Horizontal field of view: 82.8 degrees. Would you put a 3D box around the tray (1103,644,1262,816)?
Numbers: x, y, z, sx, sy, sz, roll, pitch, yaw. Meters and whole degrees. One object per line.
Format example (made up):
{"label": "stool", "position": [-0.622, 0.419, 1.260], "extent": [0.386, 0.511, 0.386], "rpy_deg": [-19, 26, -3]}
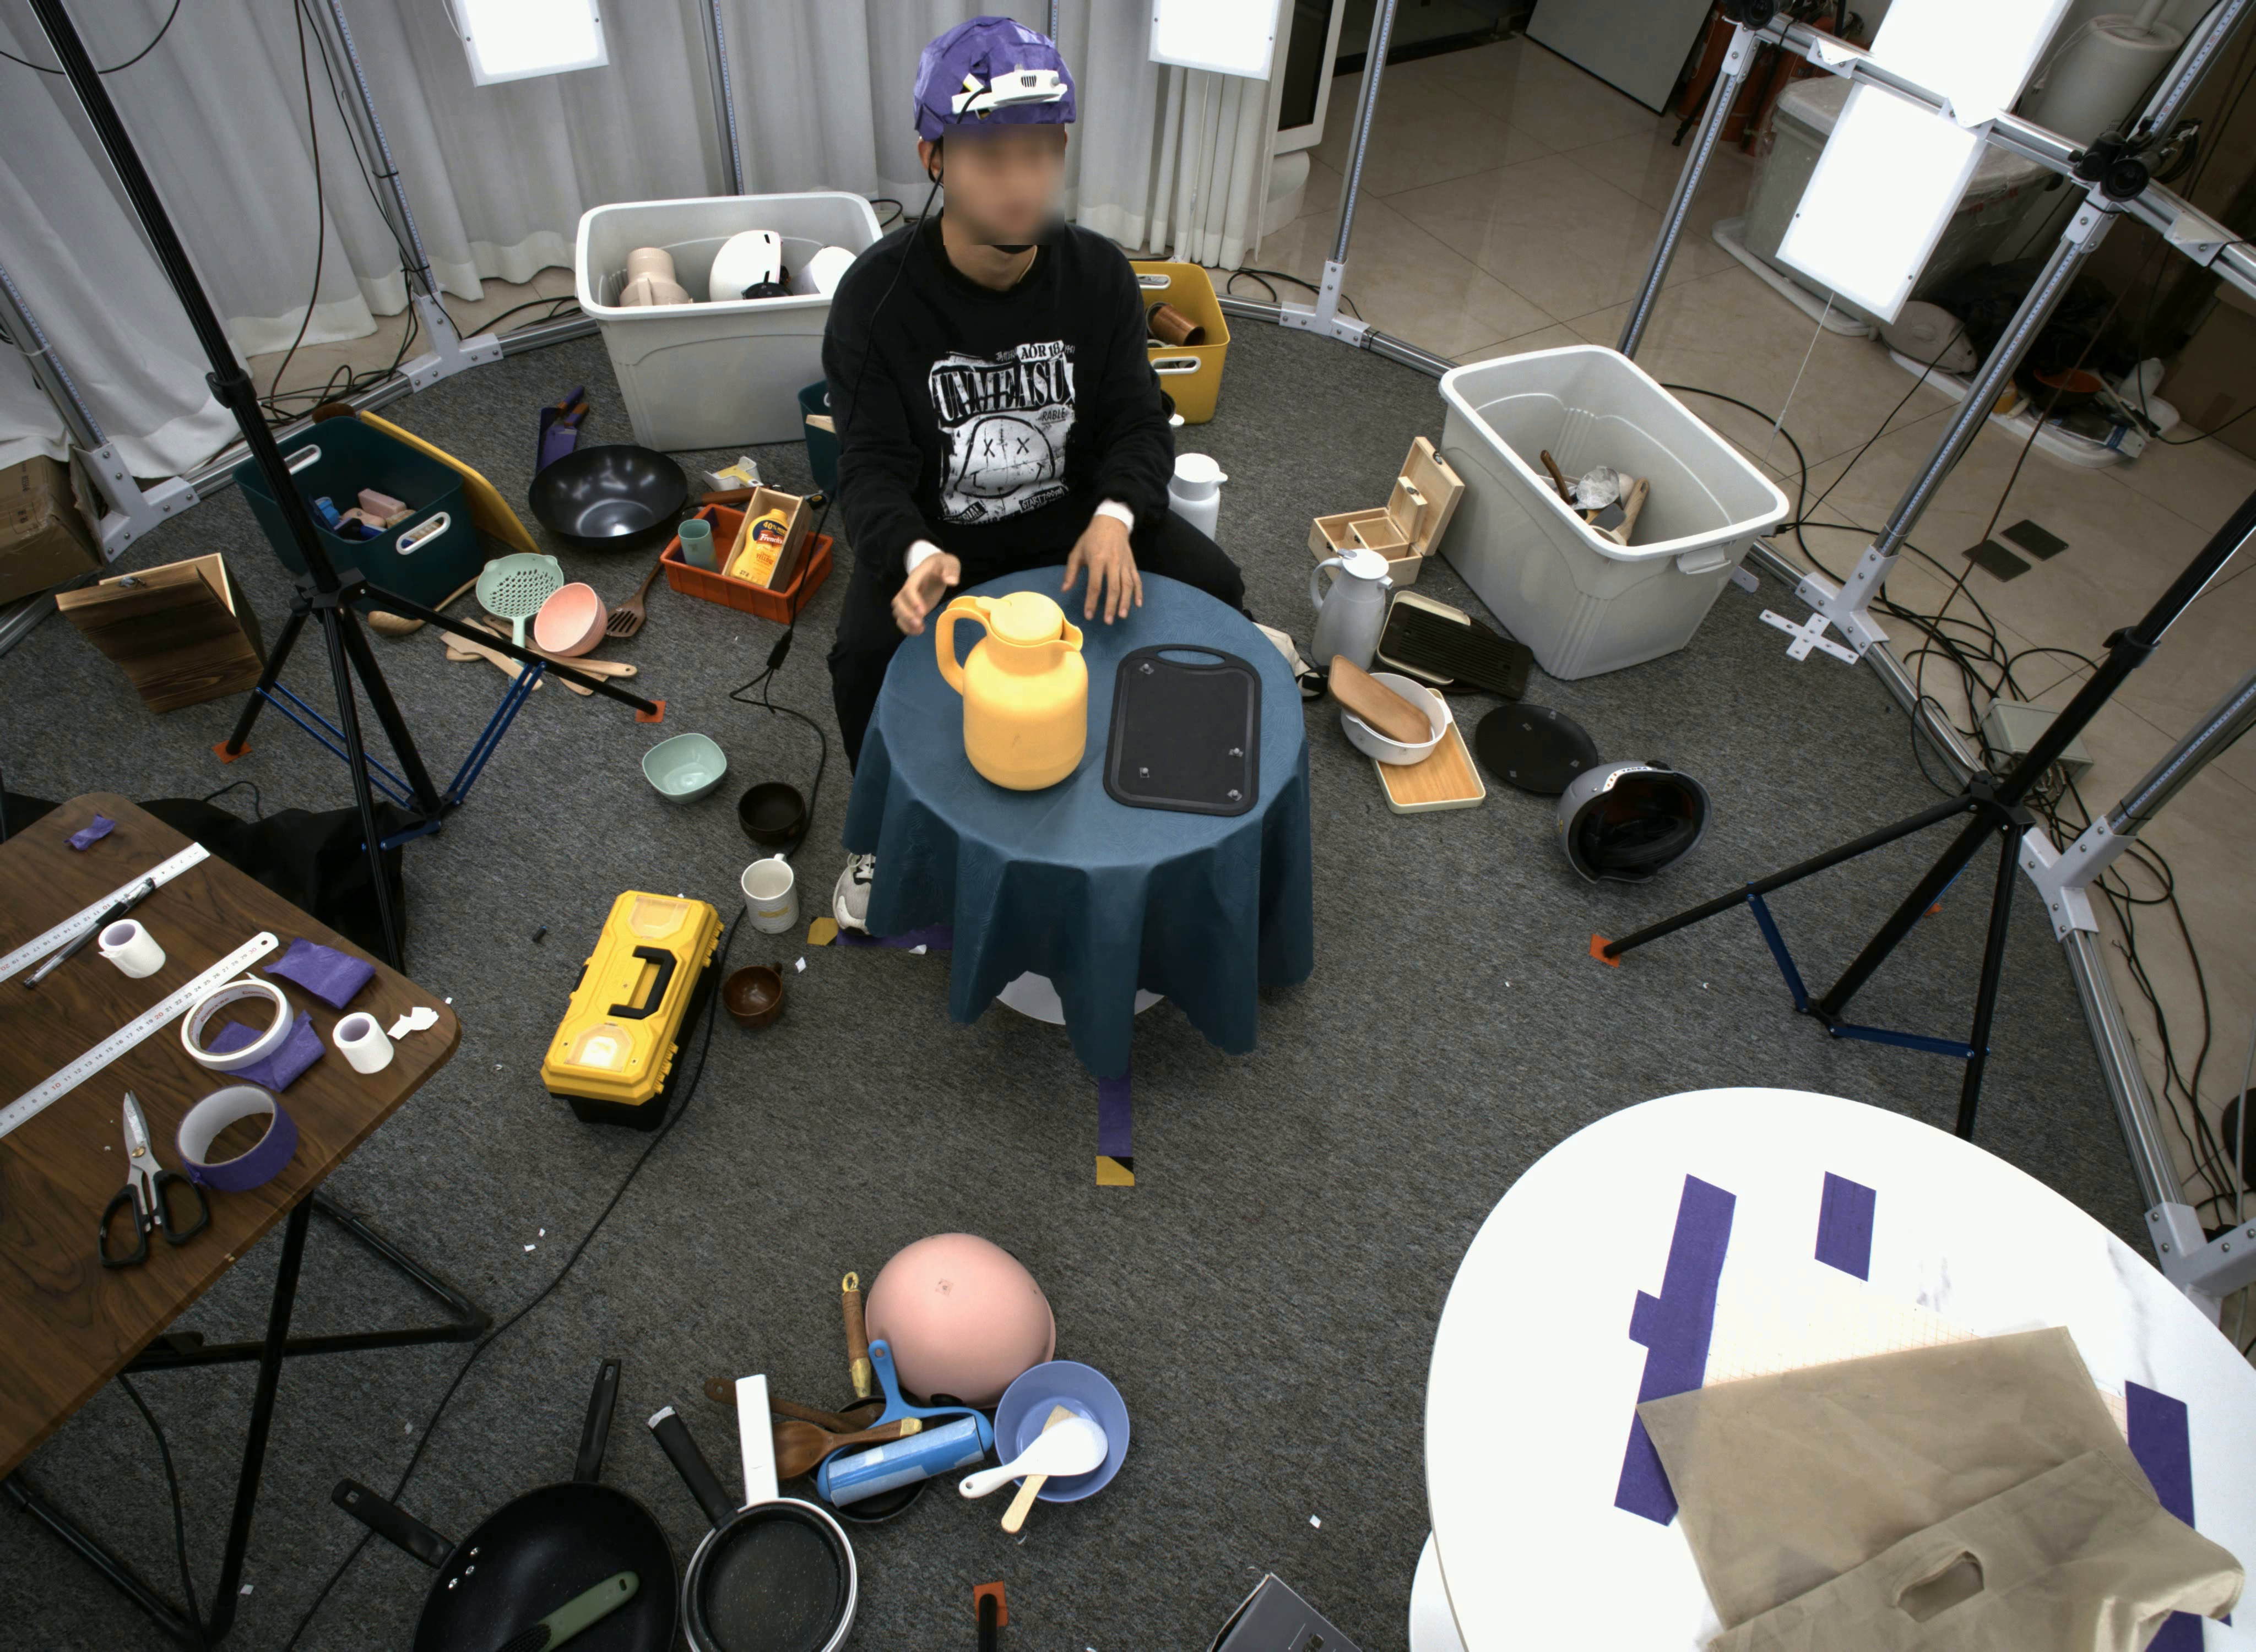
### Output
{"label": "tray", "position": [0.081, -0.145, 1.795], "extent": [0.211, 0.009, 0.333], "rpy_deg": [6, 49, 2]}

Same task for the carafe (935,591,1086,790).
{"label": "carafe", "position": [-0.151, -0.186, 1.652], "extent": [0.203, 0.254, 0.166], "rpy_deg": [23, 49, 13]}
